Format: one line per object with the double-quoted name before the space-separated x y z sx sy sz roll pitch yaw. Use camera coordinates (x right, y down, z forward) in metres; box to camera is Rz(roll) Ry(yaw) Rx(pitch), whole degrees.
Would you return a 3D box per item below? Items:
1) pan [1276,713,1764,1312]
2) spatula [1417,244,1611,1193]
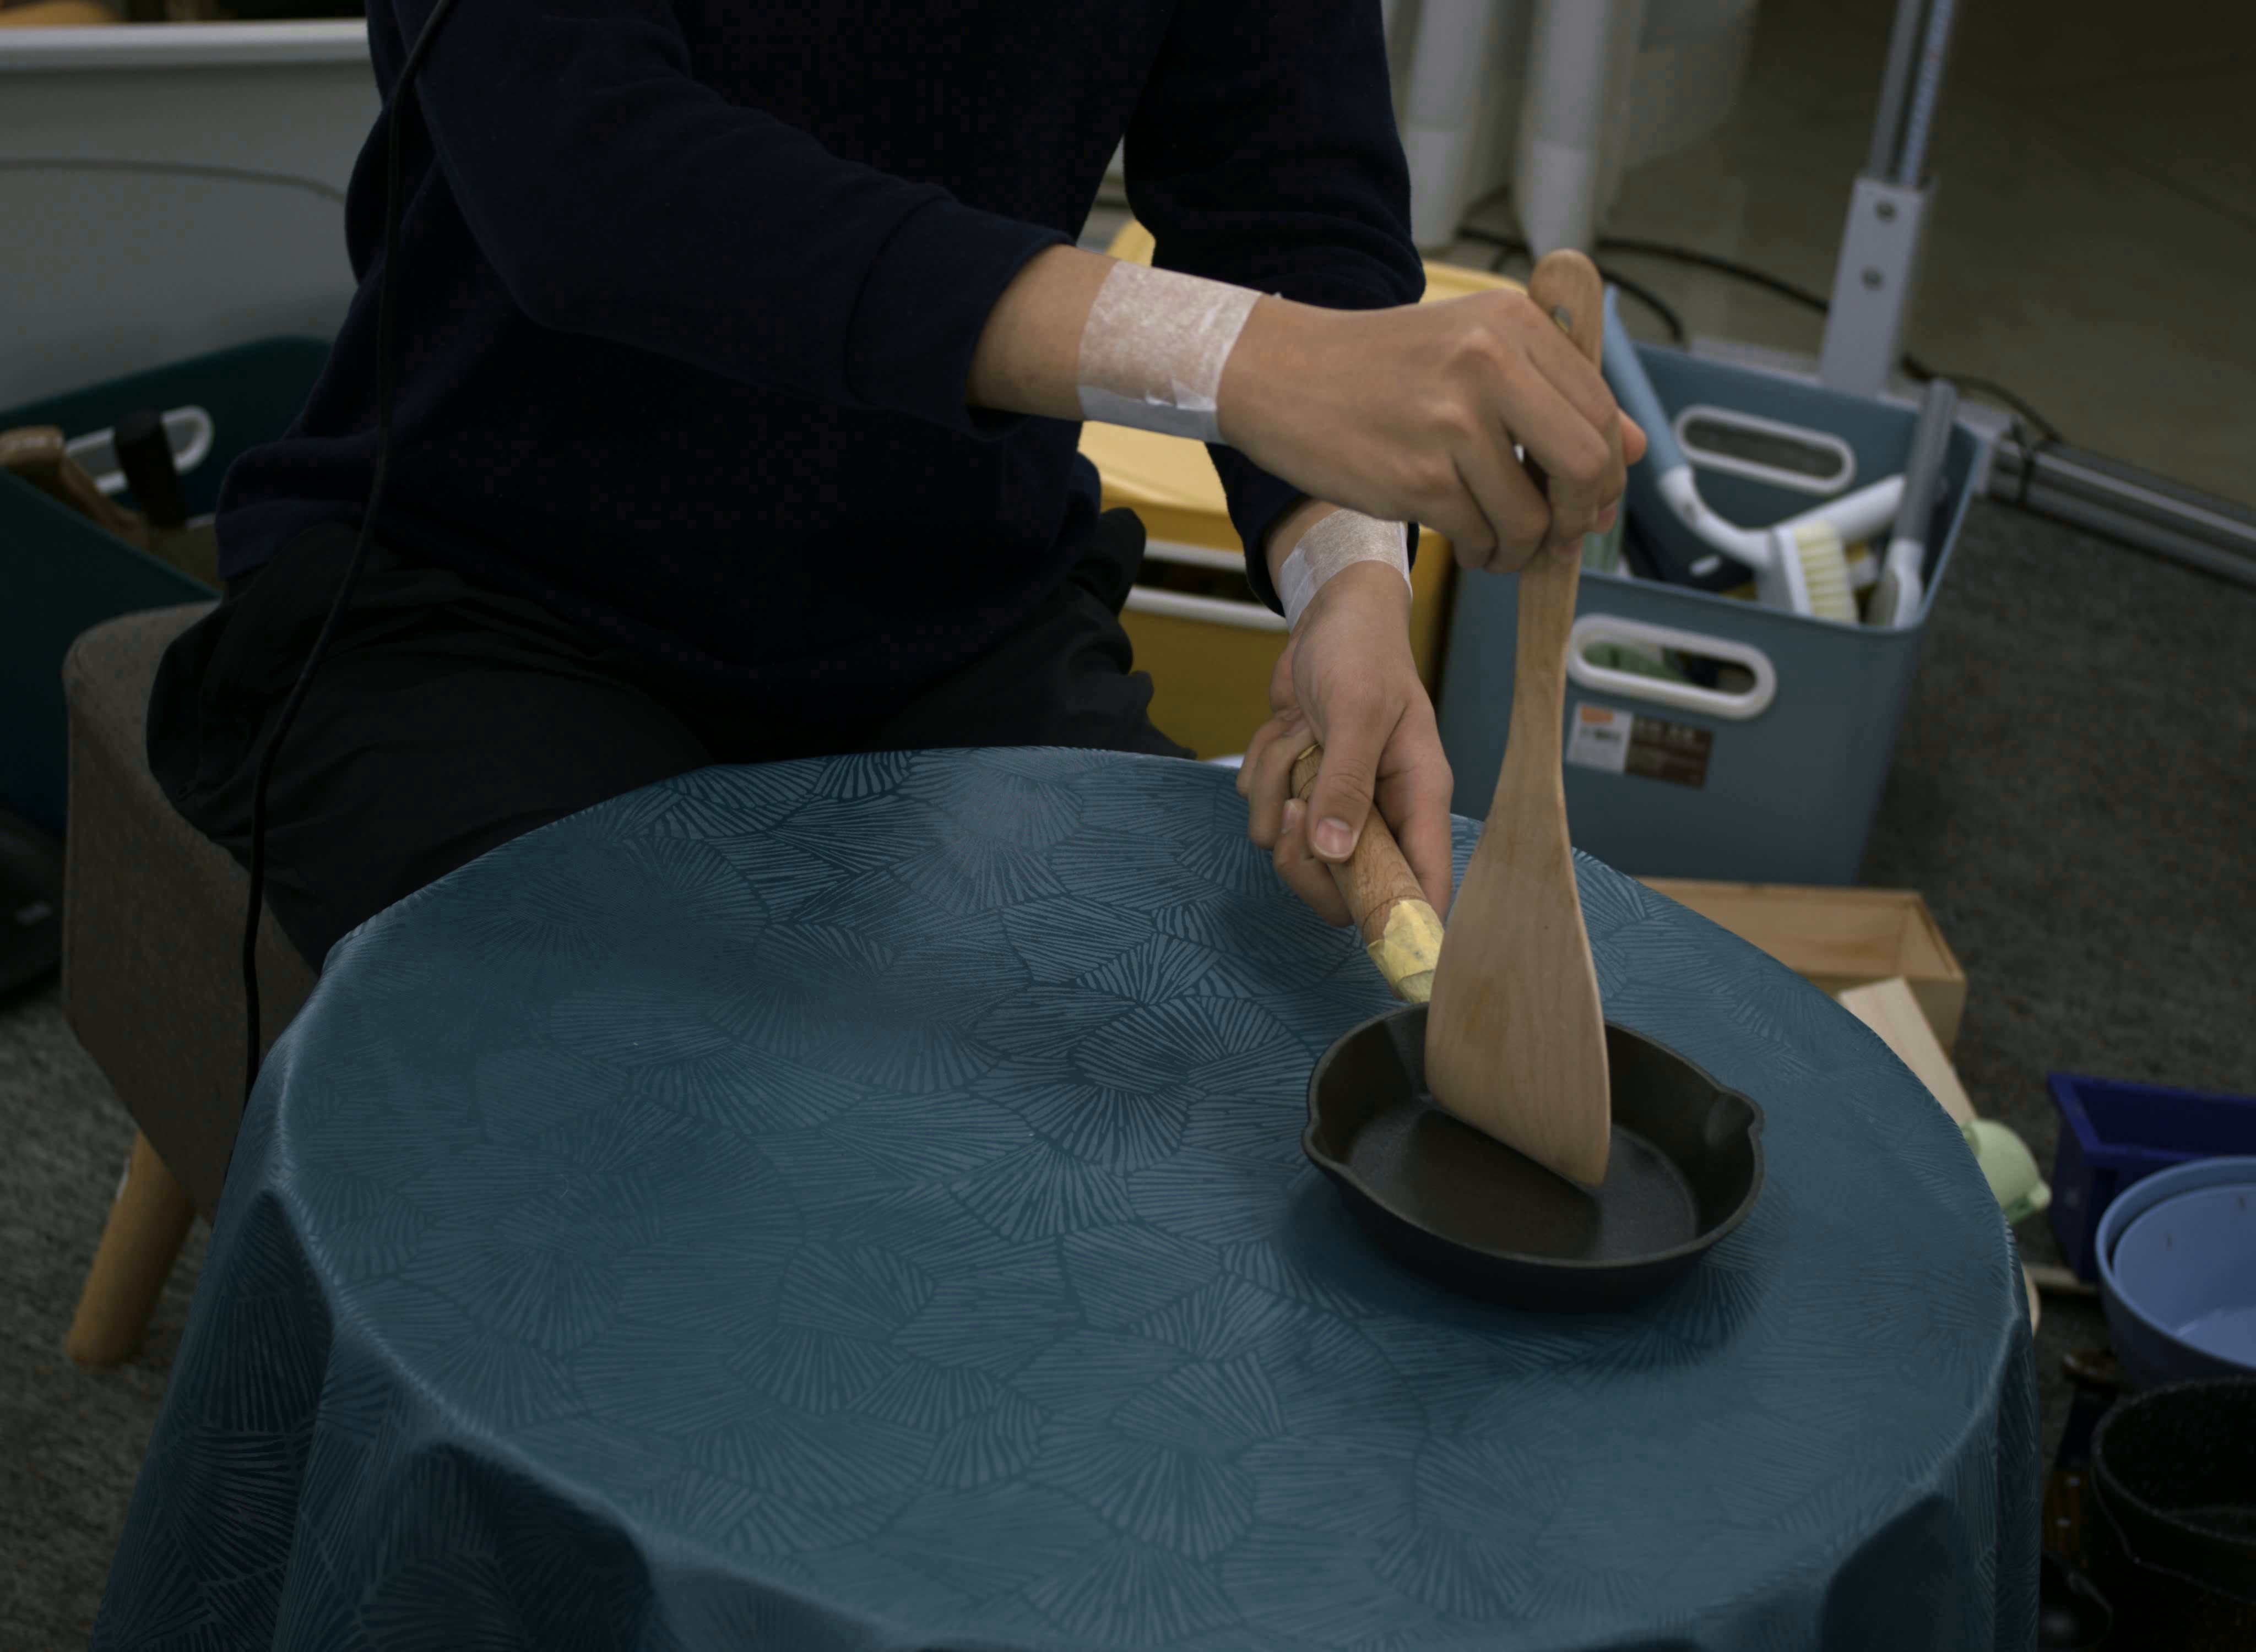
"pan" 0.112 0.063 1.869 0.168 0.049 0.327 -3 34 -18
"spatula" 0.137 -0.034 1.779 0.080 0.327 0.016 17 23 36
